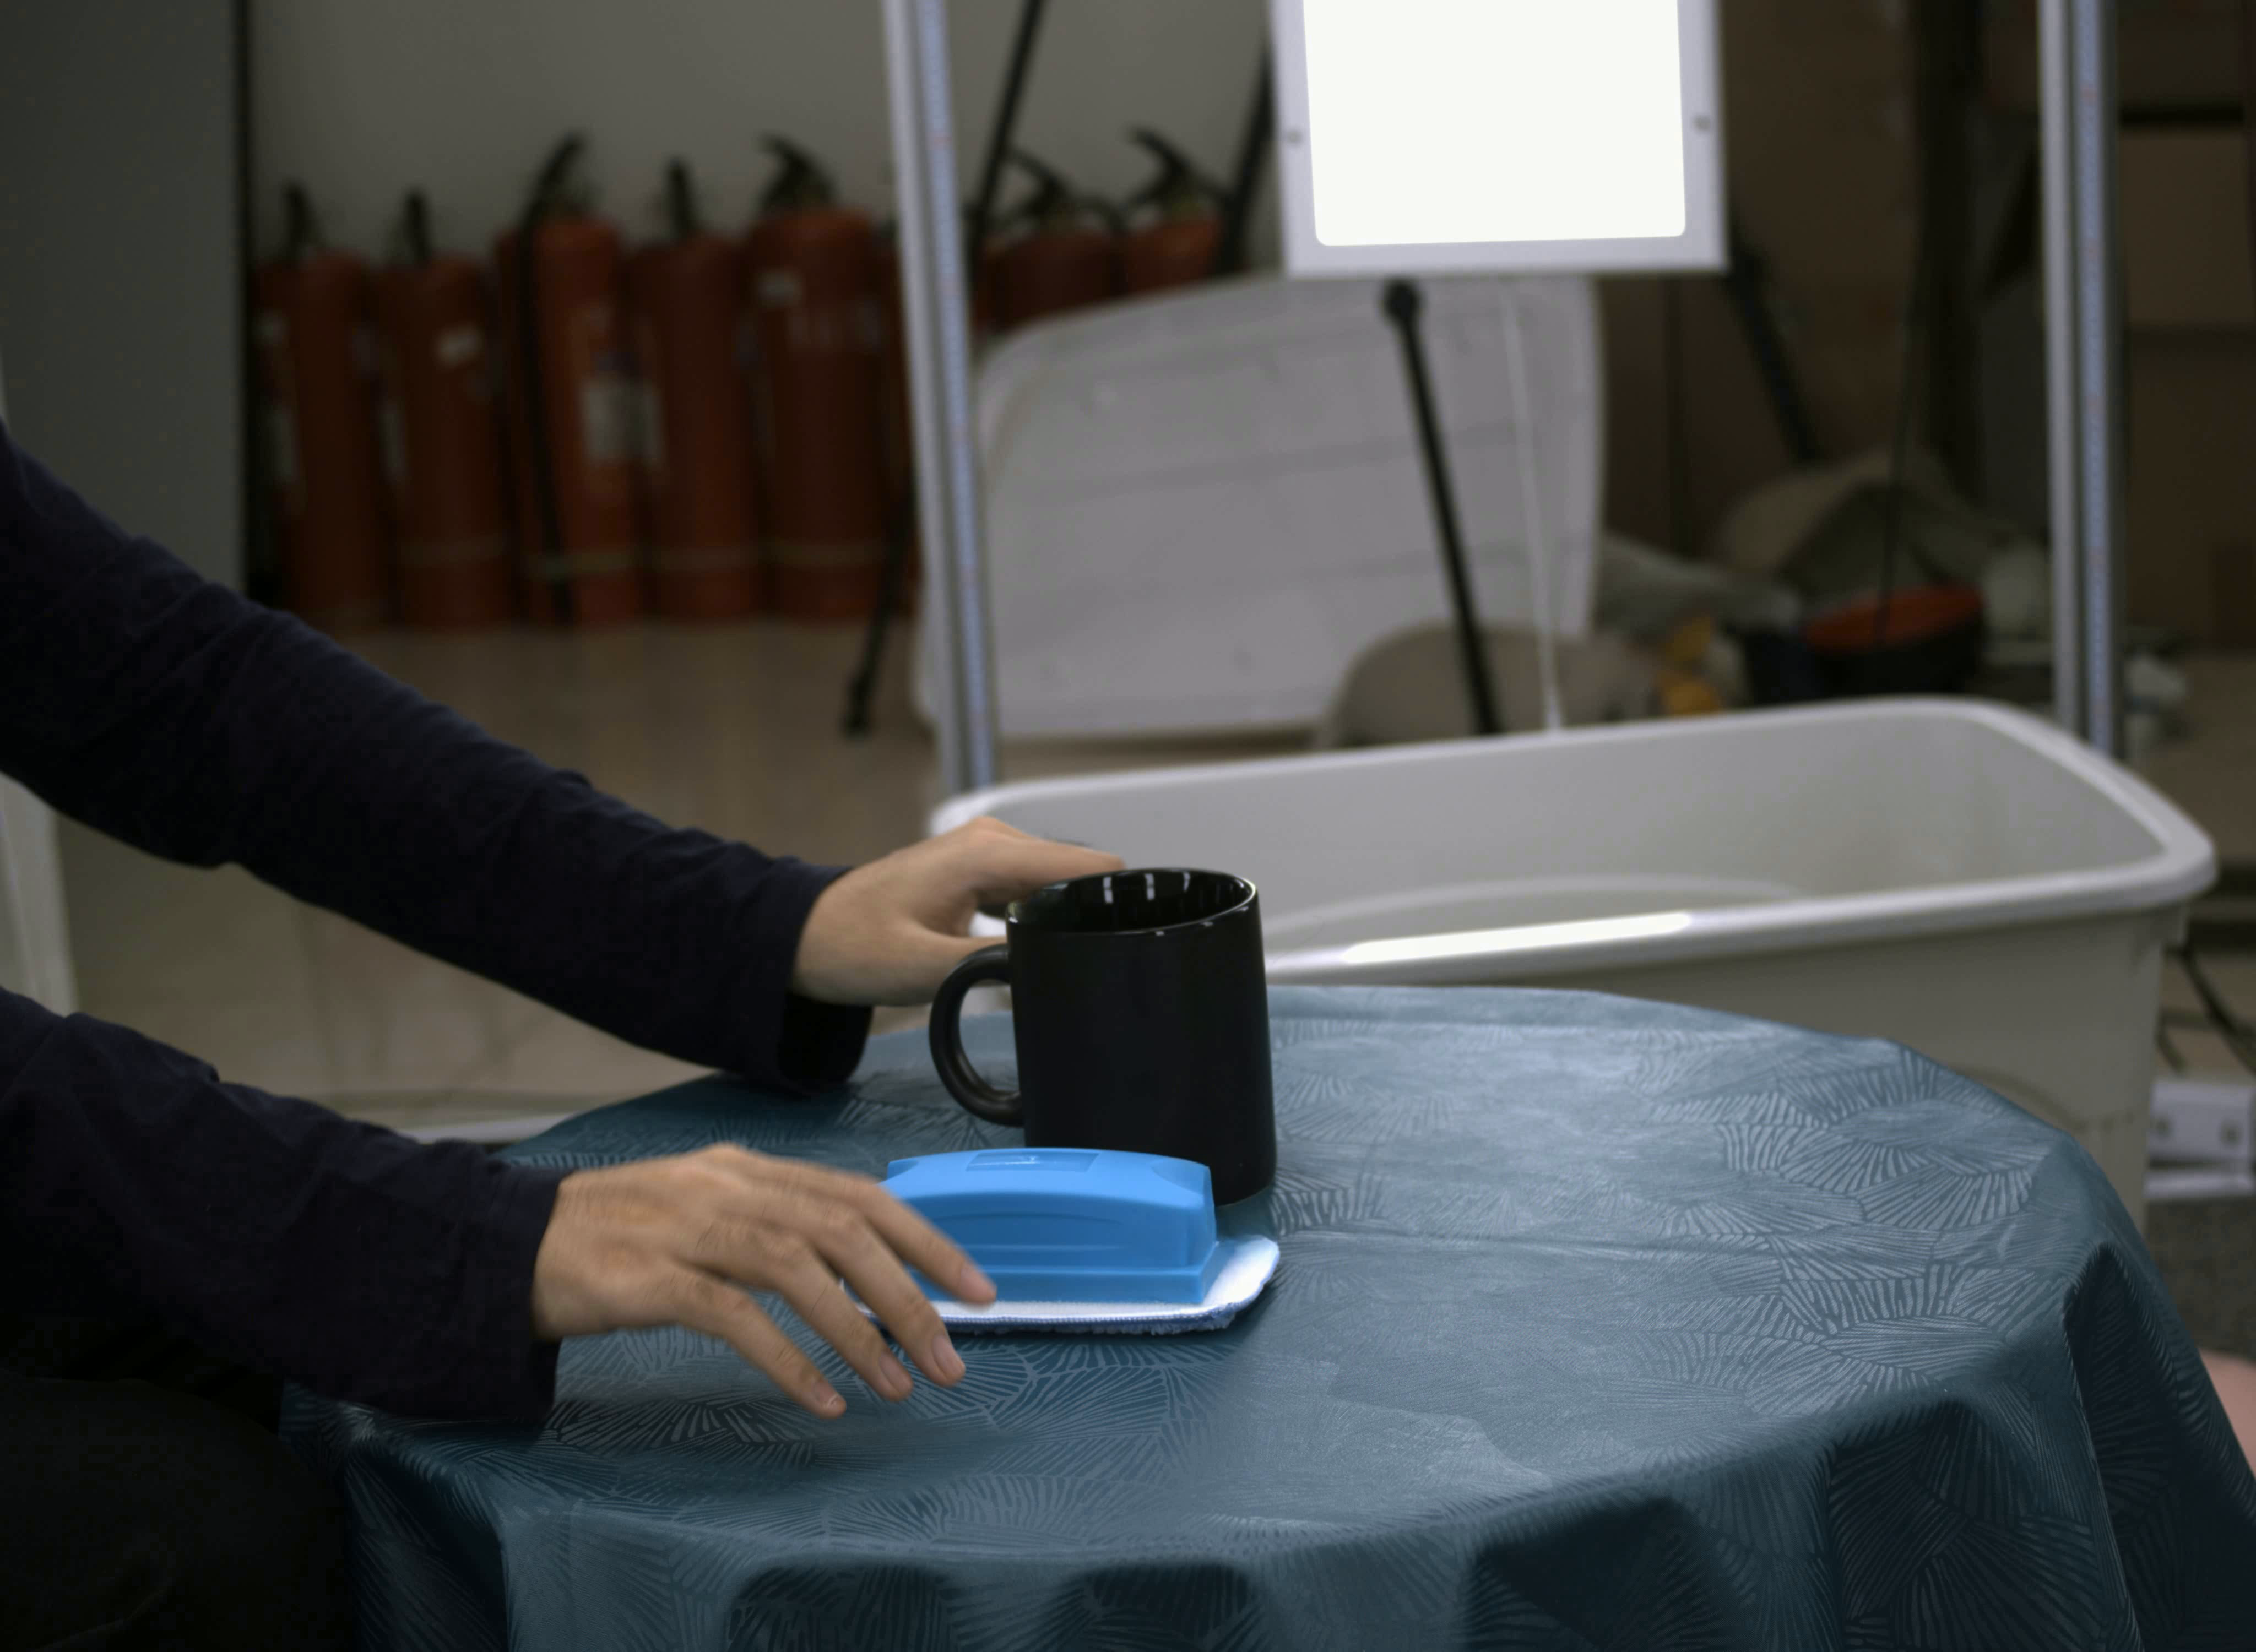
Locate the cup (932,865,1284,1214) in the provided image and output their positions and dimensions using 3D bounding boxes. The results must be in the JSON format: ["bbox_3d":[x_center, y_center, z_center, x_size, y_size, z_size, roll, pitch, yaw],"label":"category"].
[{"bbox_3d":[-0.010,0.075,1.902,0.125,0.105,0.087,-1,16,25],"label":"cup"}]

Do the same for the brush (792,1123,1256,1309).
[{"bbox_3d":[-0.033,0.126,1.784,0.145,0.056,0.082,2,12,18],"label":"brush"}]
